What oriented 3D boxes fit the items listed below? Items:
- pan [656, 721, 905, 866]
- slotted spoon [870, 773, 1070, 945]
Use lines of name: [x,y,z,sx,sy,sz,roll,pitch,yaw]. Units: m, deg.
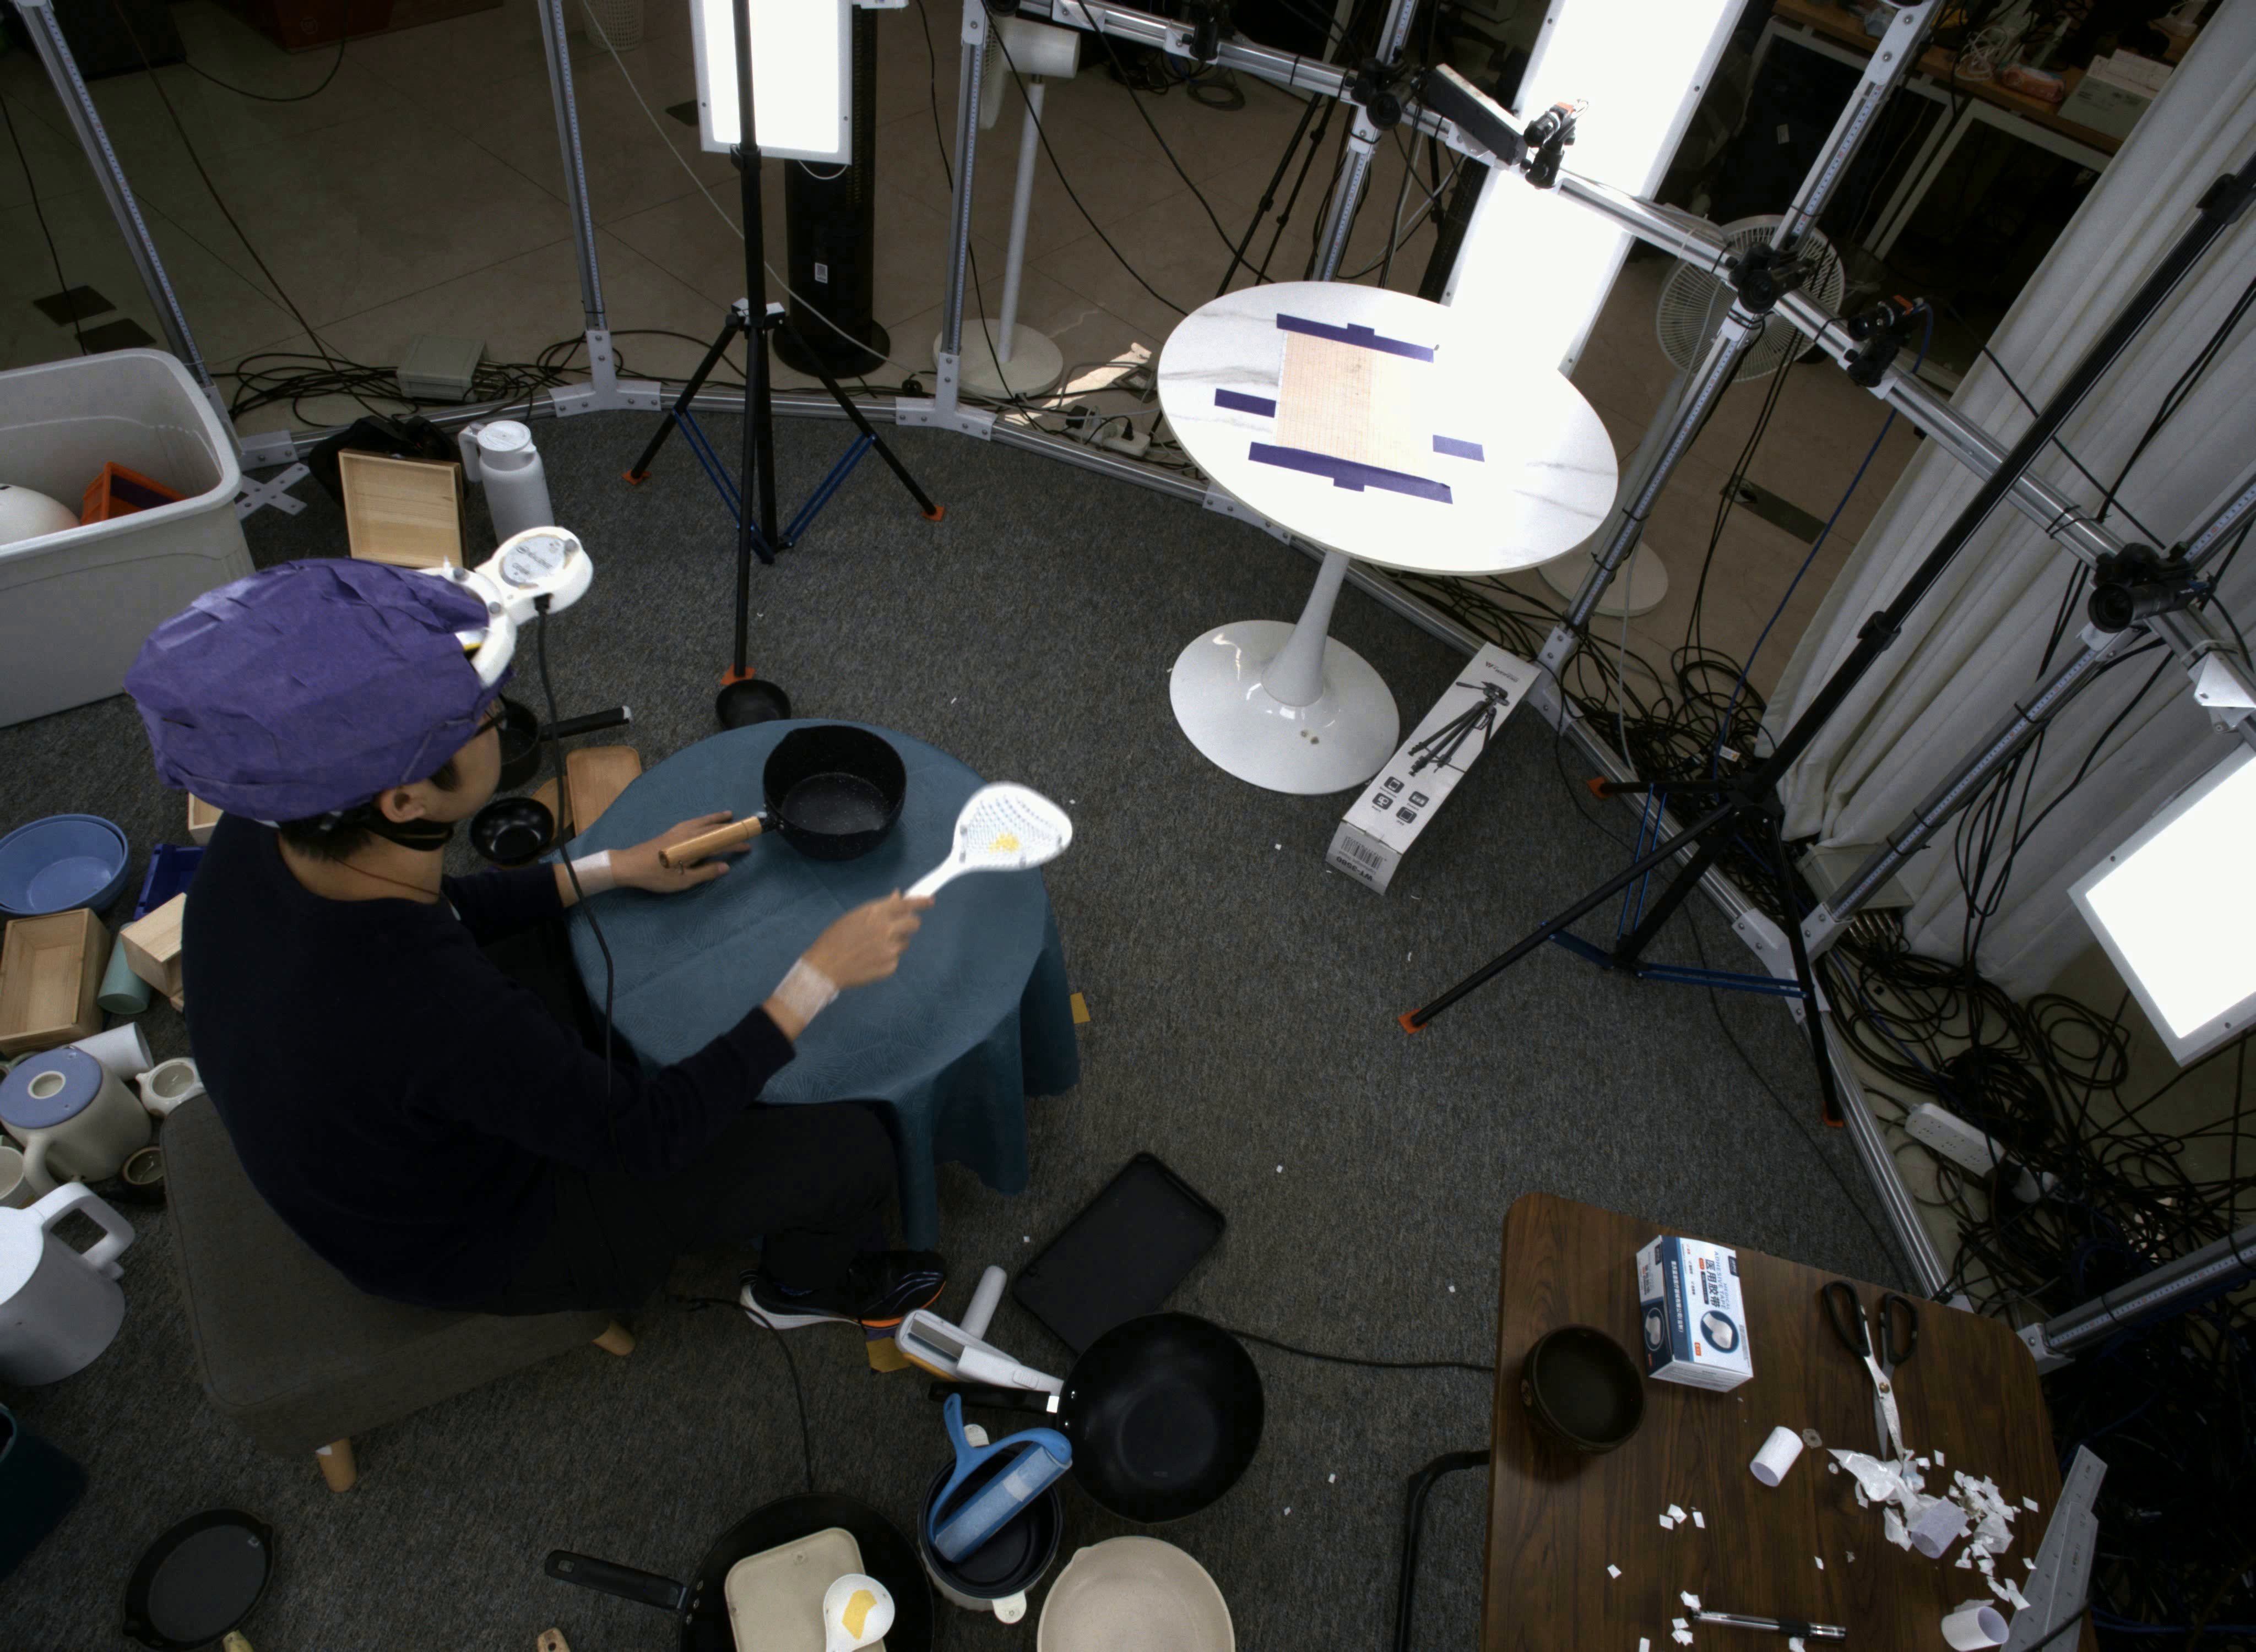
pan: [-0.440,-0.009,1.647,0.344,0.110,0.203,-33,68,-34]
slotted spoon: [-0.199,0.038,1.560,0.134,0.051,0.348,34,36,12]
